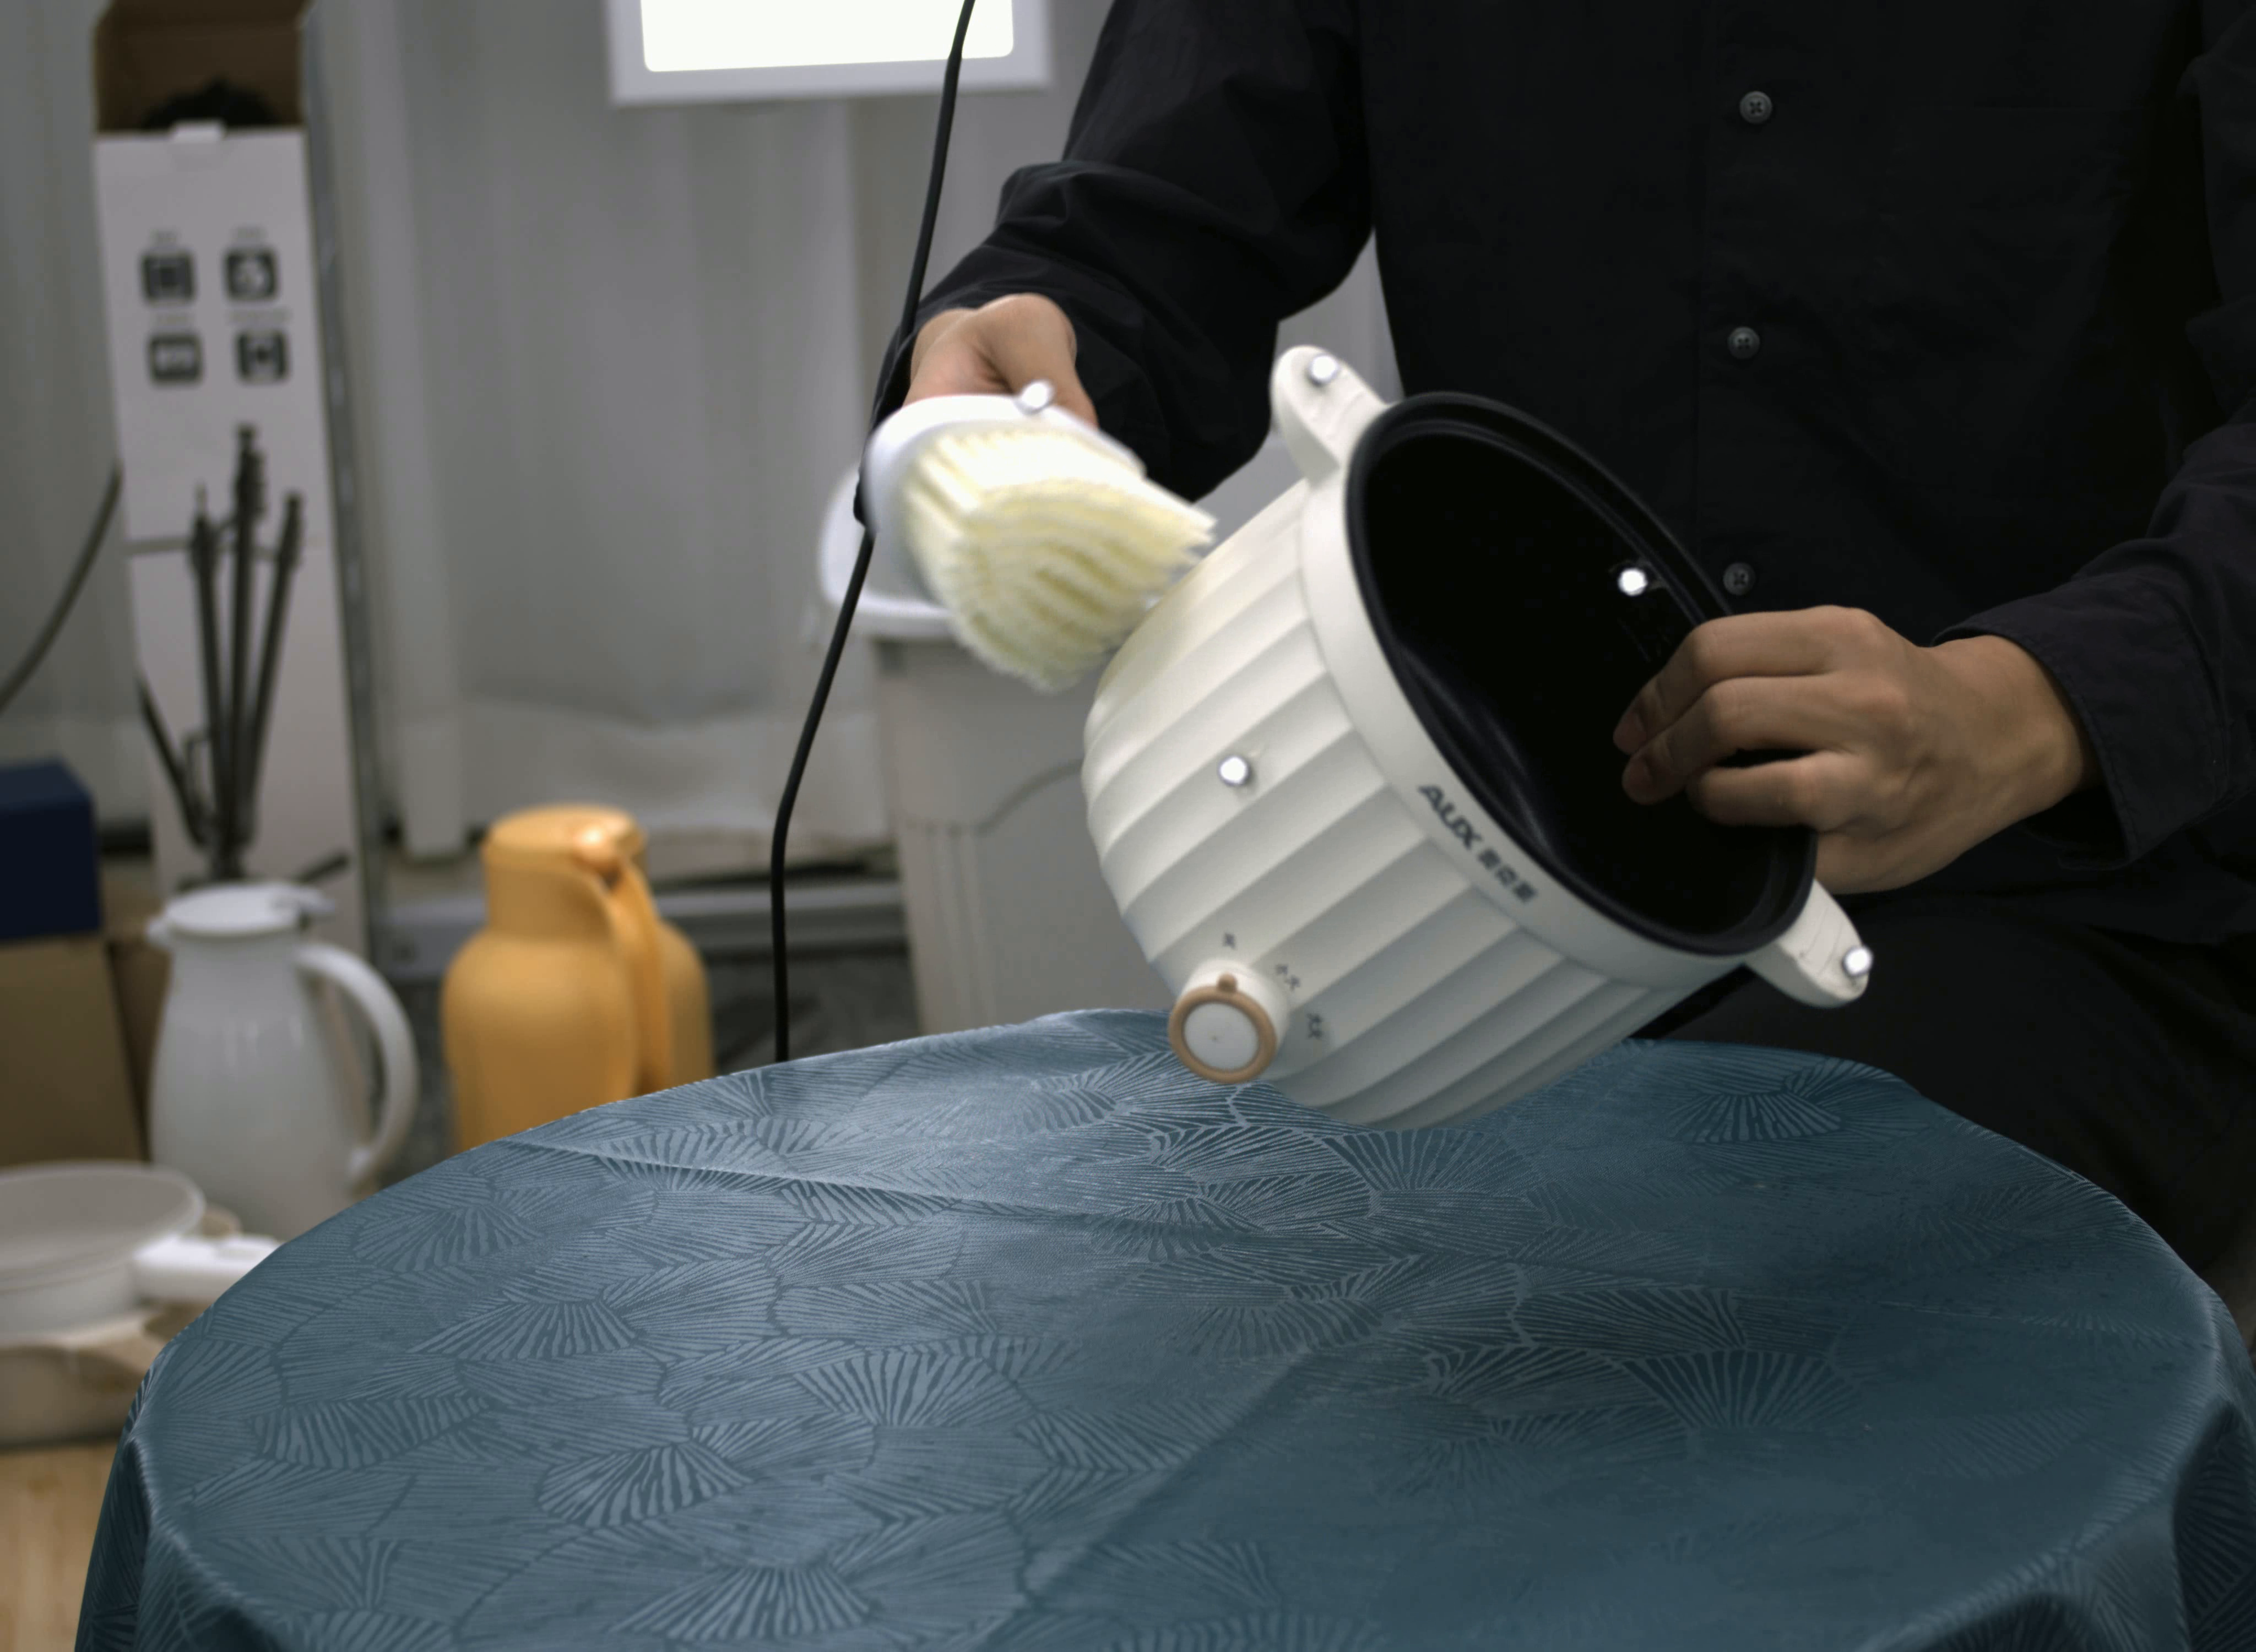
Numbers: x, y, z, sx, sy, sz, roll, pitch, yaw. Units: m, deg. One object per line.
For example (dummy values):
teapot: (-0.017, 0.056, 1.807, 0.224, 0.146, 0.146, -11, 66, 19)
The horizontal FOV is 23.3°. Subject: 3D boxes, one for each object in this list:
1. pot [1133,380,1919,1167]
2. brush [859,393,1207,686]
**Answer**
pot: (0.095, 0.003, 1.528, 0.142, 0.239, 0.192, -39, 10, 30)
brush: (-0.008, -0.083, 1.635, 0.083, 0.085, 0.324, -11, -3, 10)
